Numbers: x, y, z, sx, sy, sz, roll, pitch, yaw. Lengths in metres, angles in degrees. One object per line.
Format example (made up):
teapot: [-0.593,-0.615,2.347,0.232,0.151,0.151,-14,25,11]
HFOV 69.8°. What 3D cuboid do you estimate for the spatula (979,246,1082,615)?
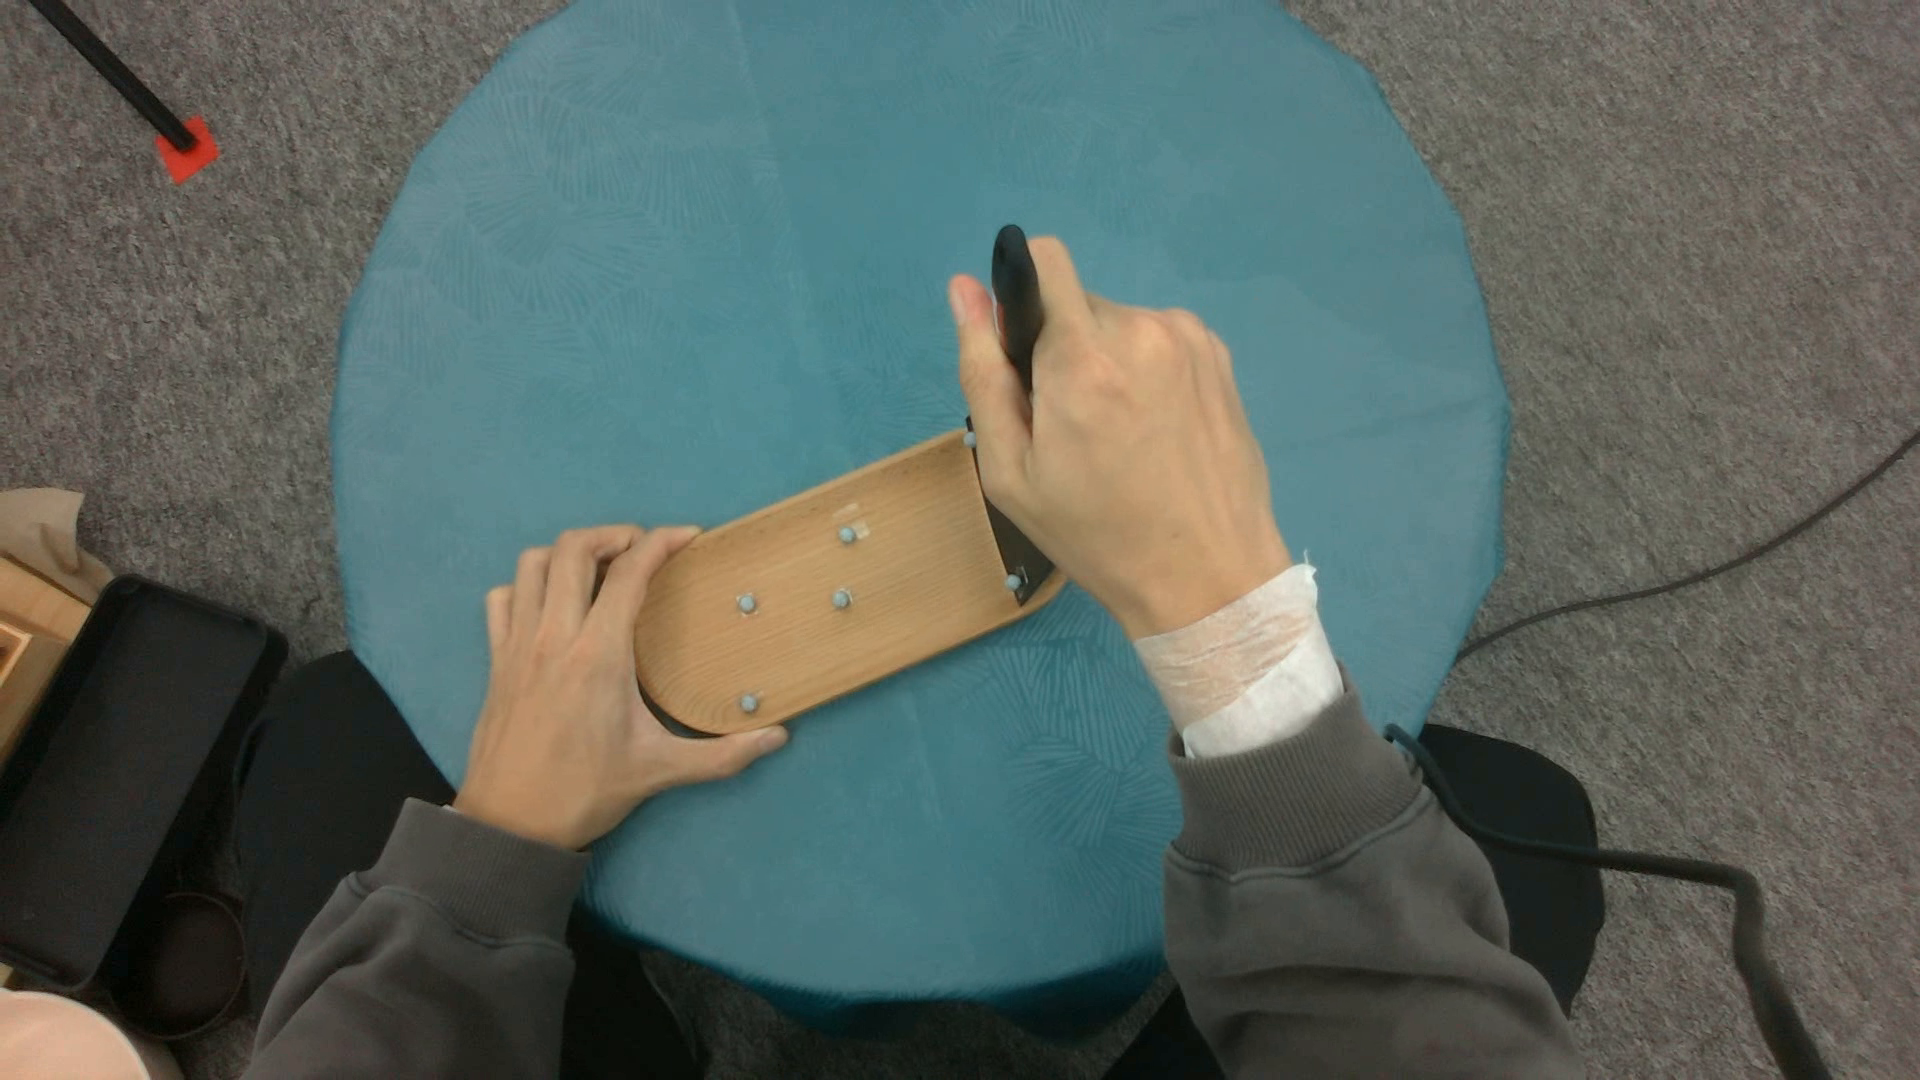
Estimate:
spatula: [0.023,-0.042,0.535,0.040,0.326,0.100,-17,78,3]

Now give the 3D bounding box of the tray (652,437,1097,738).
tray: [-0.041,0.023,0.690,0.231,0.020,0.102,-23,76,-6]
